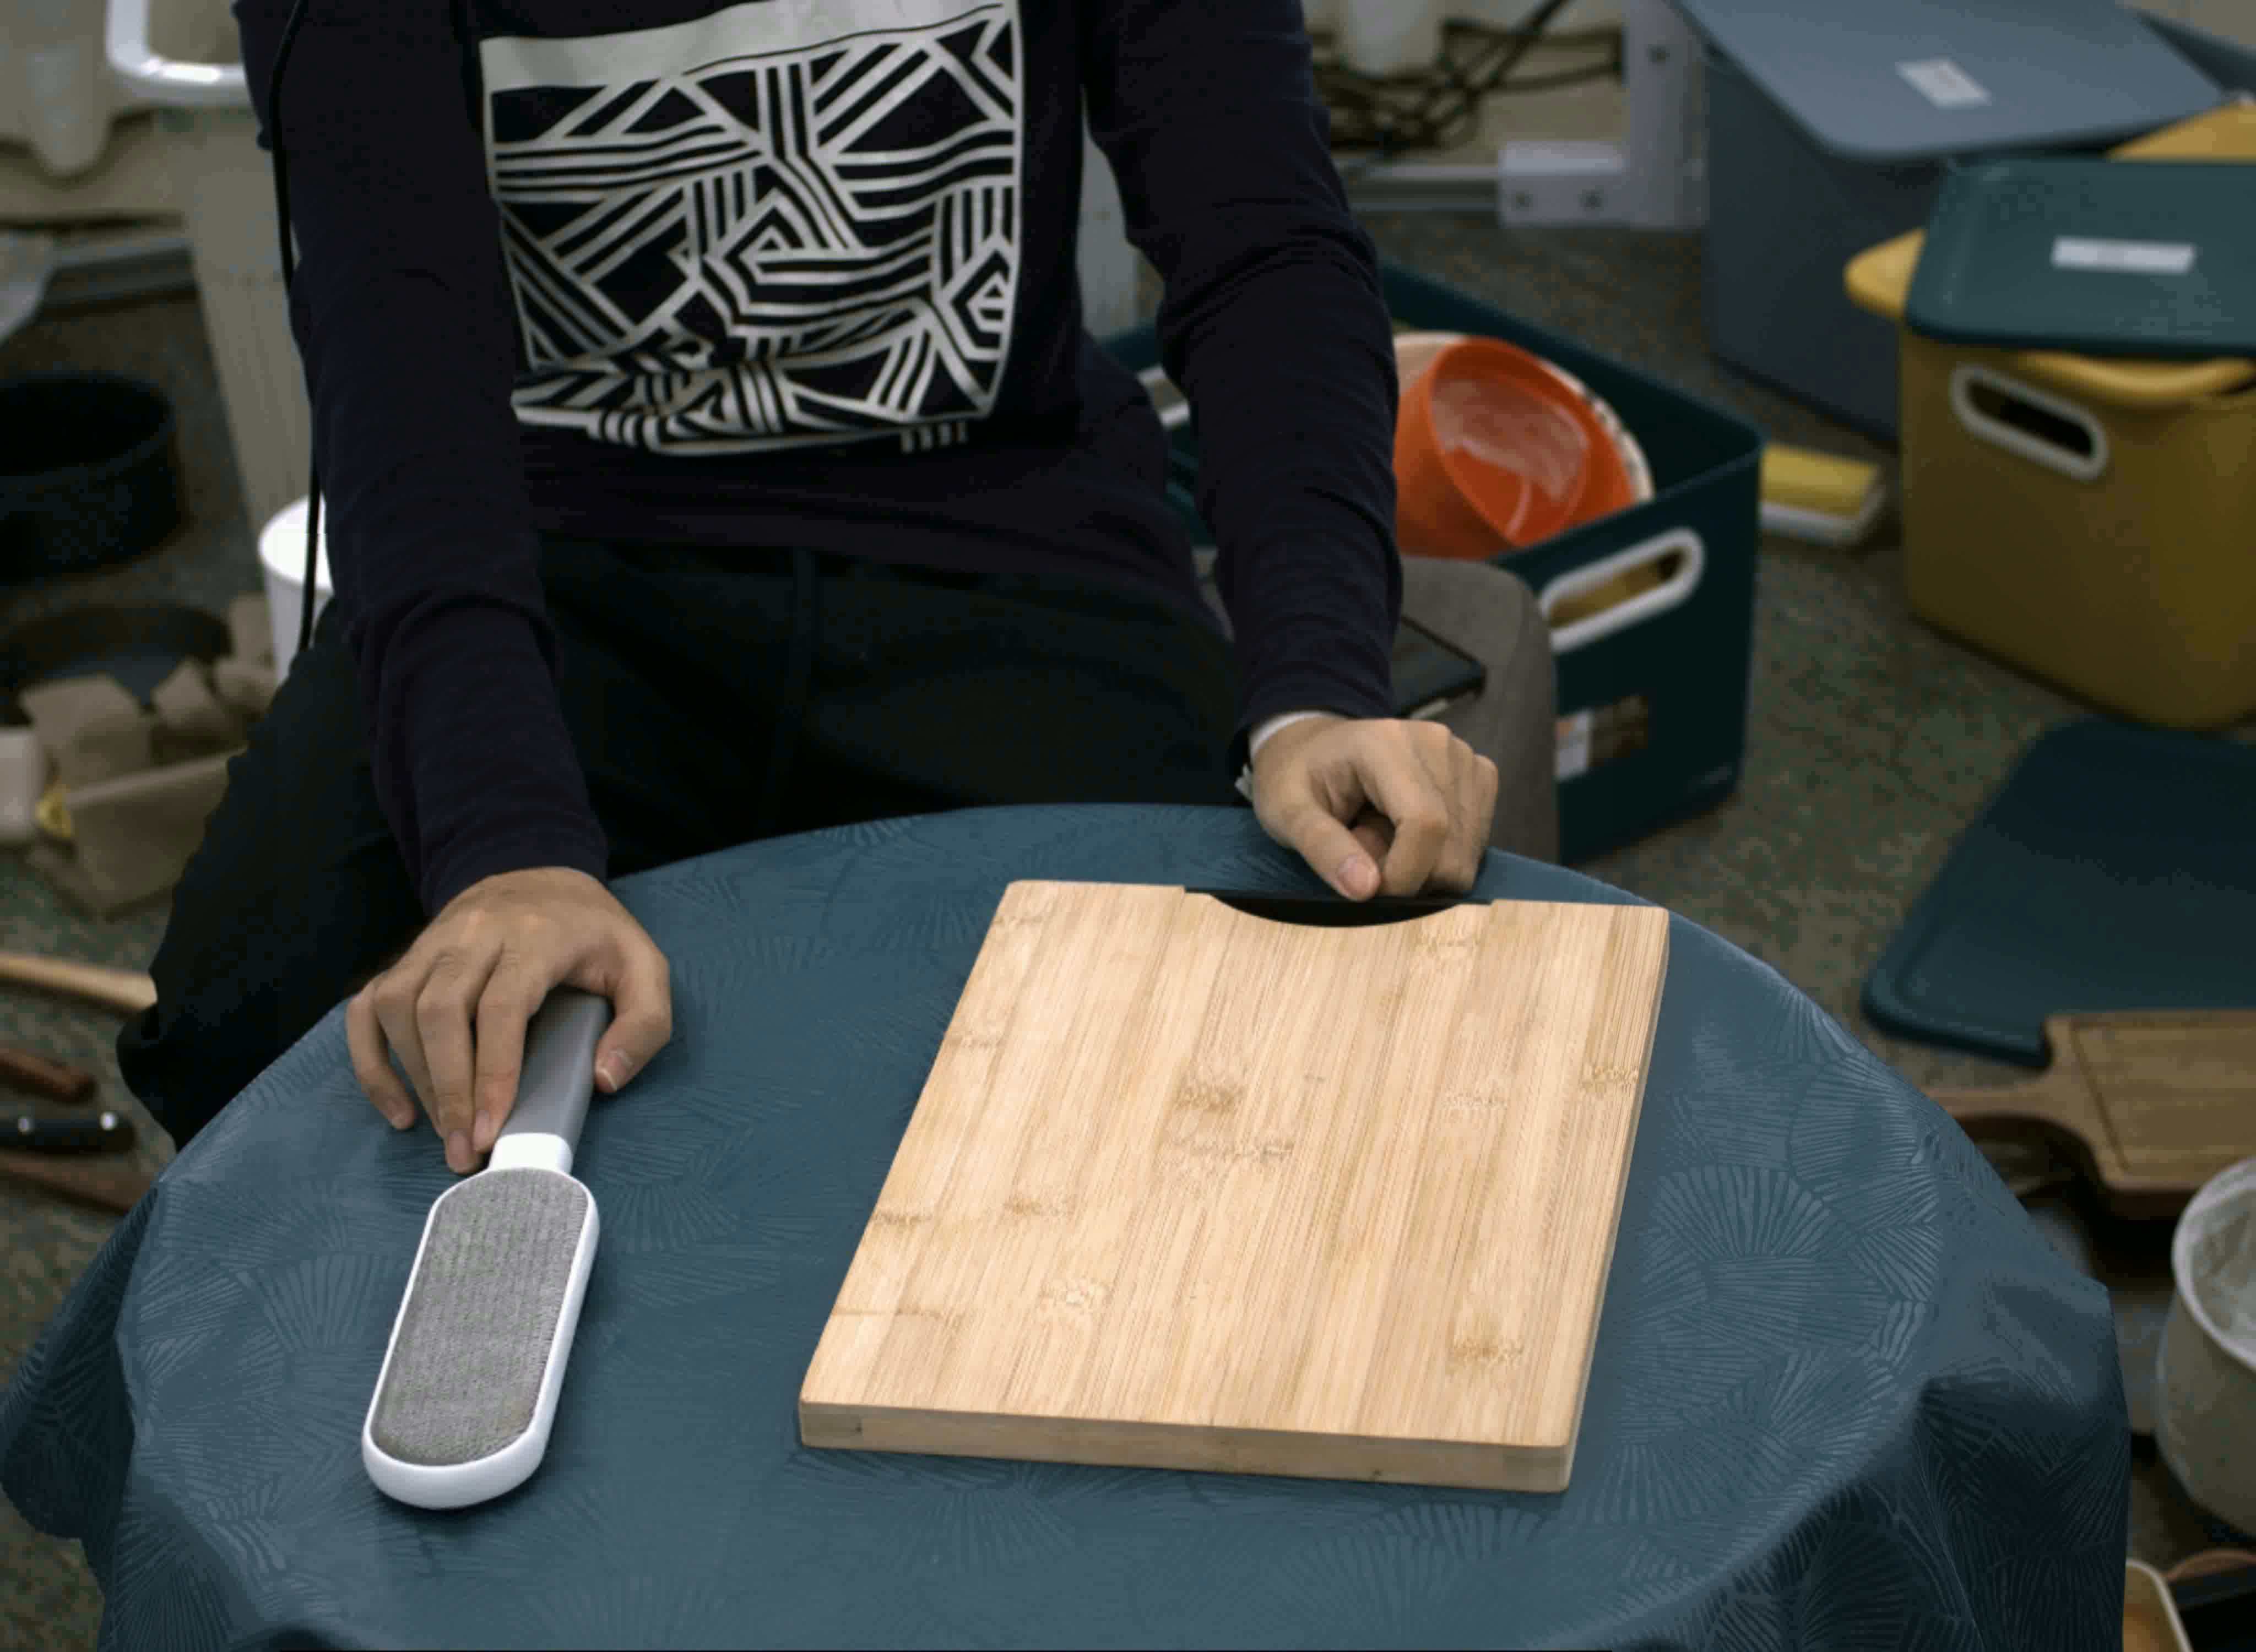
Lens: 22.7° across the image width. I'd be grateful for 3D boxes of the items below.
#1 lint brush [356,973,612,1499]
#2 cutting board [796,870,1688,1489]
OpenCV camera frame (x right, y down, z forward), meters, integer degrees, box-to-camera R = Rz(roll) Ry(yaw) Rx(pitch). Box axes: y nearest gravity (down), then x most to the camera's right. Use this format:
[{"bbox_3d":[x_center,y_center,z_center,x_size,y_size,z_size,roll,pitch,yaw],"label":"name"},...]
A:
[{"bbox_3d":[-0.201,0.129,1.837,0.059,0.021,0.314,-5,27,6],"label":"lint brush"},{"bbox_3d":[0.047,0.109,1.864,0.249,0.023,0.354,3,28,9],"label":"cutting board"}]
